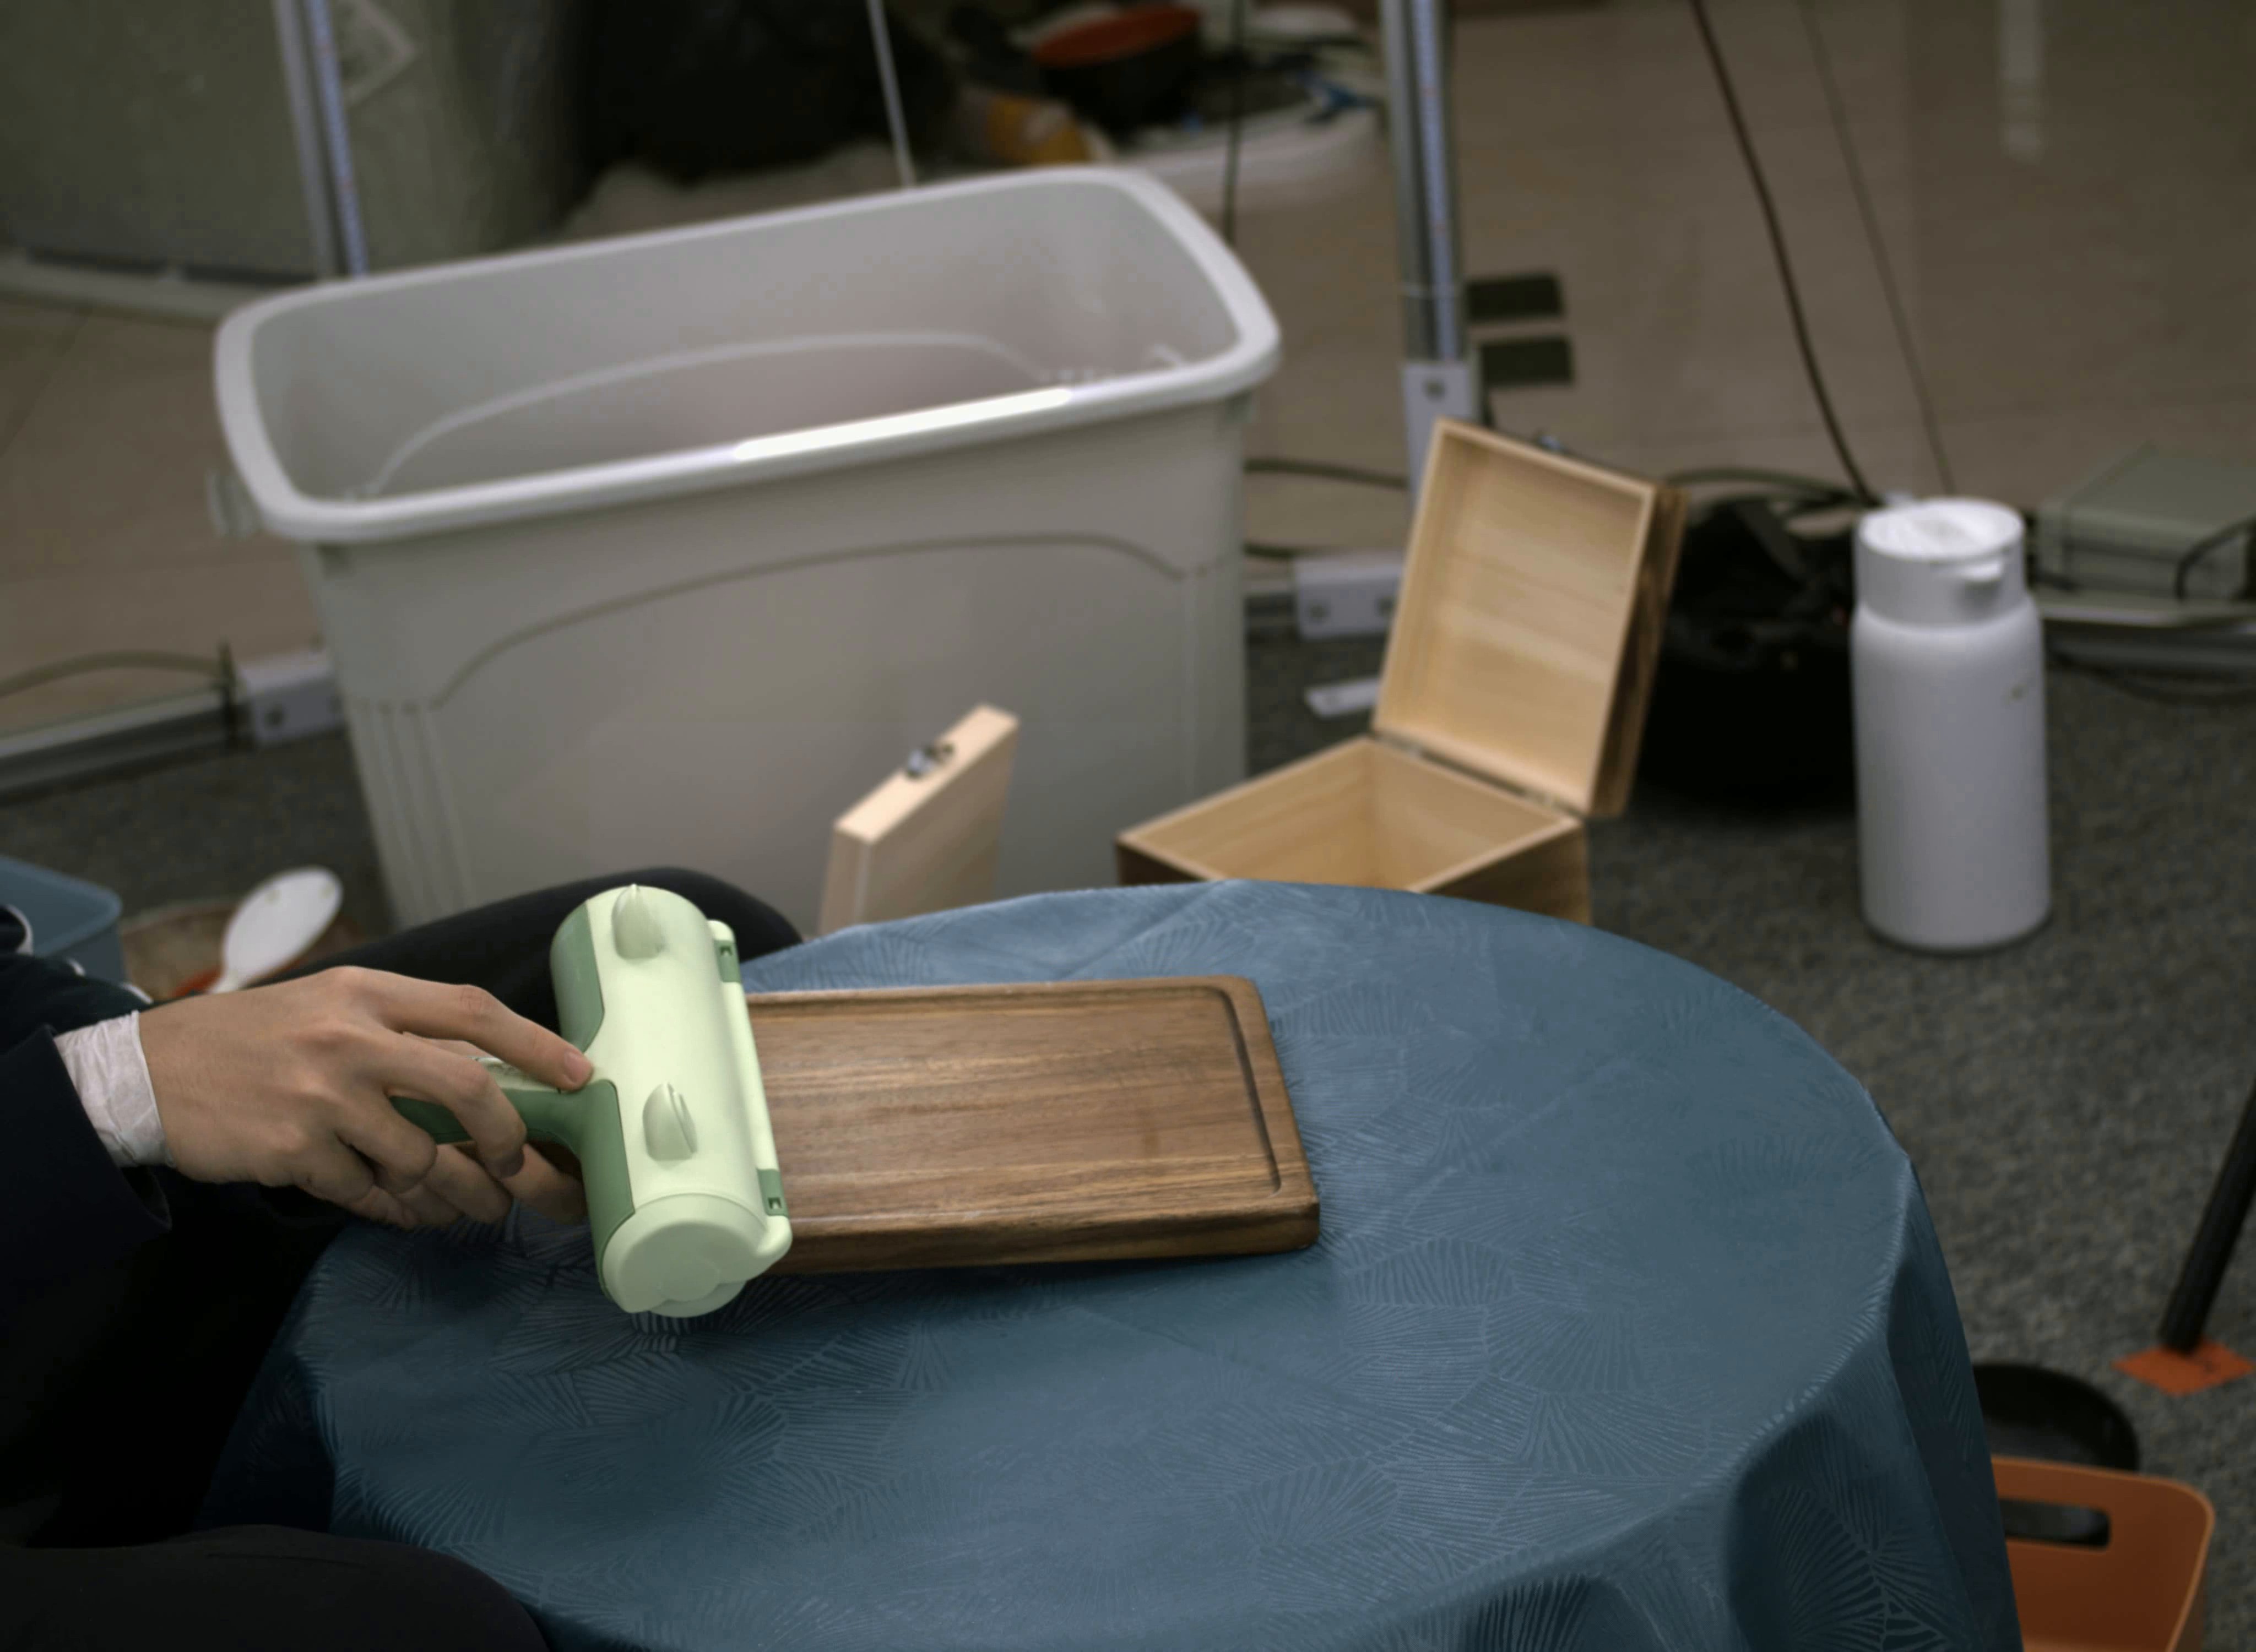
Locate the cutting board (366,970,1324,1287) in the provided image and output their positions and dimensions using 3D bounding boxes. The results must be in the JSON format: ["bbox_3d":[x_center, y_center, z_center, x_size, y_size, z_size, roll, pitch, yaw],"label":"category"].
[{"bbox_3d":[-0.113,0.115,2.154,0.351,0.023,0.198,-3,26,-6],"label":"cutting board"}]

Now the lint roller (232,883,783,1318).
[{"bbox_3d":[-0.222,0.084,2.019,0.183,0.083,0.195,7,35,-17],"label":"lint roller"}]
